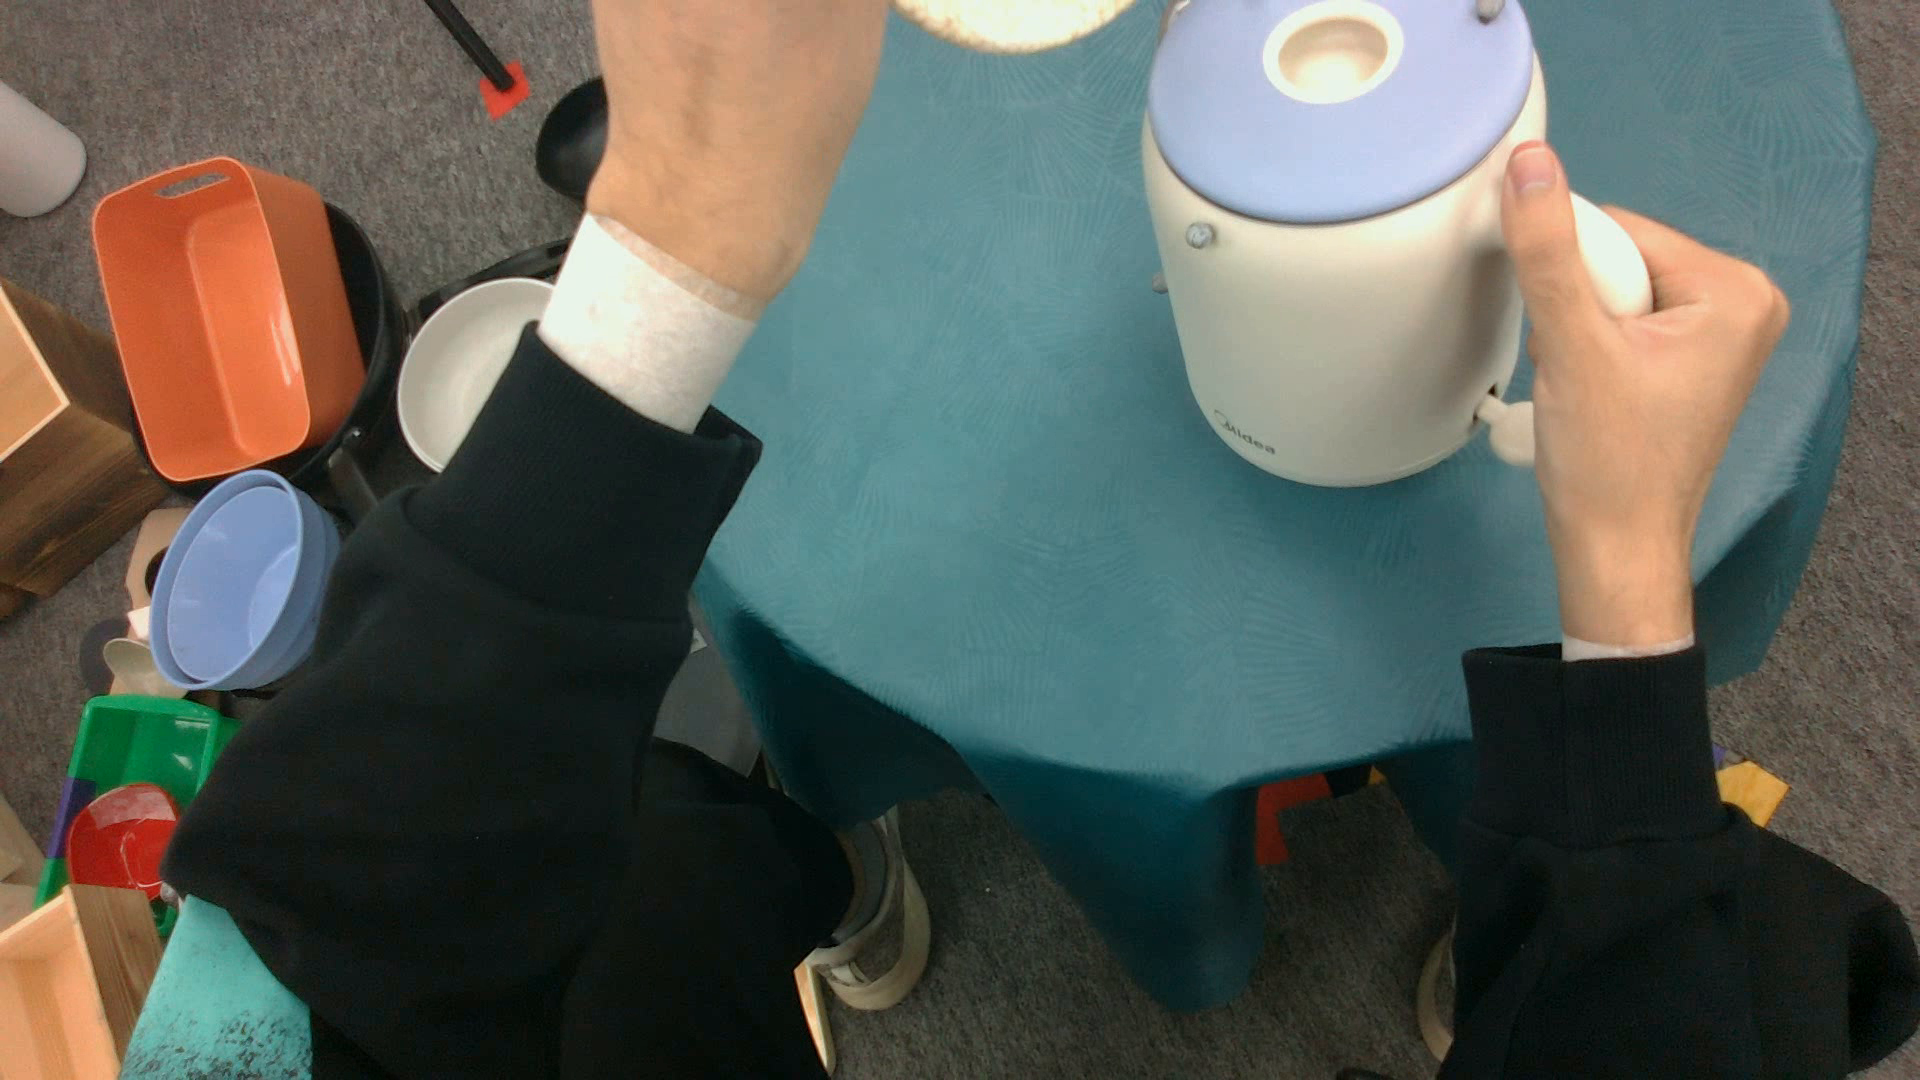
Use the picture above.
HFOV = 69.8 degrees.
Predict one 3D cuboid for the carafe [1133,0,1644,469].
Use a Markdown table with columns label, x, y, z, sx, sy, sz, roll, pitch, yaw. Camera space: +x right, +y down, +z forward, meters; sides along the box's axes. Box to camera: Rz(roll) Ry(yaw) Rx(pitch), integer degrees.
| label | x | y | z | sx | sy | sz | roll | pitch | yaw |
| --- | --- | --- | --- | --- | --- | --- | --- | --- | --- |
| carafe | 0.155 | -0.107 | 0.504 | 0.191 | 0.182 | 0.132 | 36 | 80 | 26 |

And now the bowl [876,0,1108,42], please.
| label | x | y | z | sx | sy | sz | roll | pitch | yaw |
| --- | --- | --- | --- | --- | --- | --- | --- | --- | --- |
| bowl | 0.000 | -0.253 | 0.387 | 0.078 | 0.203 | 0.204 | 34 | 81 | 36 |
